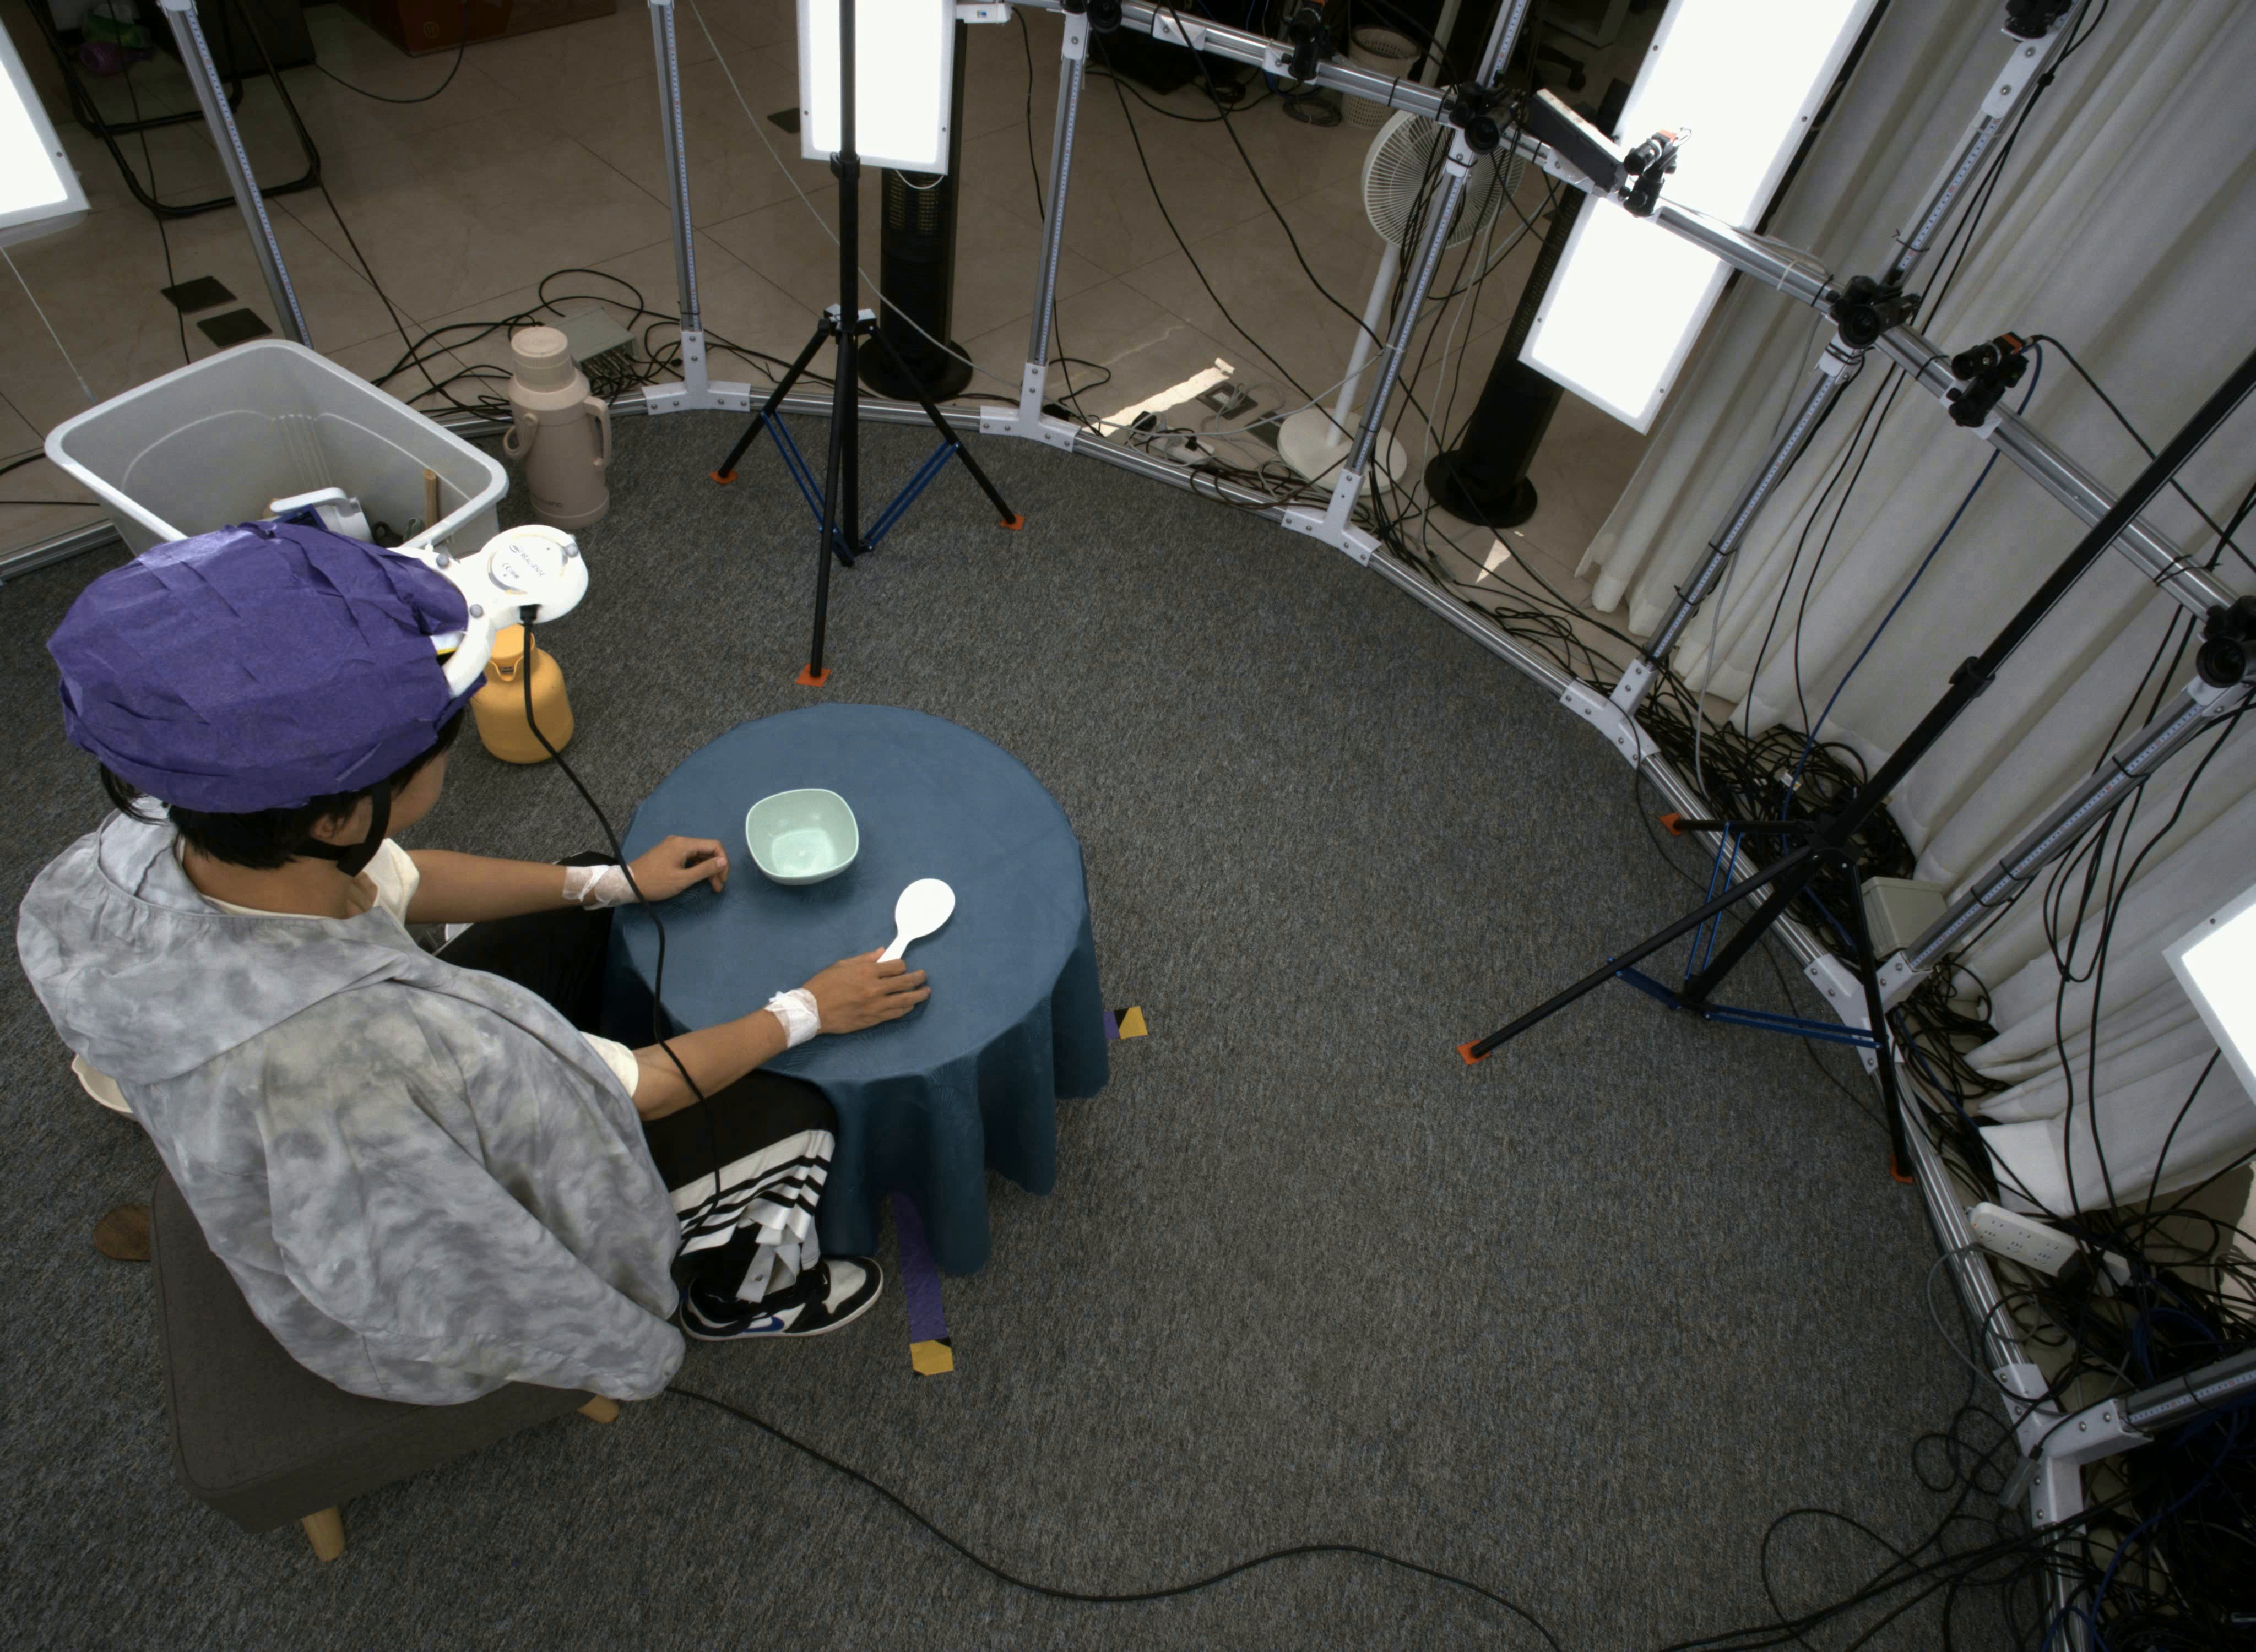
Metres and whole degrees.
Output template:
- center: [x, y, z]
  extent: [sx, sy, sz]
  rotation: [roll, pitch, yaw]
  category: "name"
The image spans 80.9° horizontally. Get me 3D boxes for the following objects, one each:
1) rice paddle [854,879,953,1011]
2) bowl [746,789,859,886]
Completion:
- center: [-0.284, 0.140, 1.638]
  extent: [0.068, 0.030, 0.204]
  rotation: [25, 52, 3]
  category: "rice paddle"
- center: [-0.420, 0.024, 1.673]
  extent: [0.151, 0.060, 0.149]
  rotation: [9, 52, -10]
  category: "bowl"
